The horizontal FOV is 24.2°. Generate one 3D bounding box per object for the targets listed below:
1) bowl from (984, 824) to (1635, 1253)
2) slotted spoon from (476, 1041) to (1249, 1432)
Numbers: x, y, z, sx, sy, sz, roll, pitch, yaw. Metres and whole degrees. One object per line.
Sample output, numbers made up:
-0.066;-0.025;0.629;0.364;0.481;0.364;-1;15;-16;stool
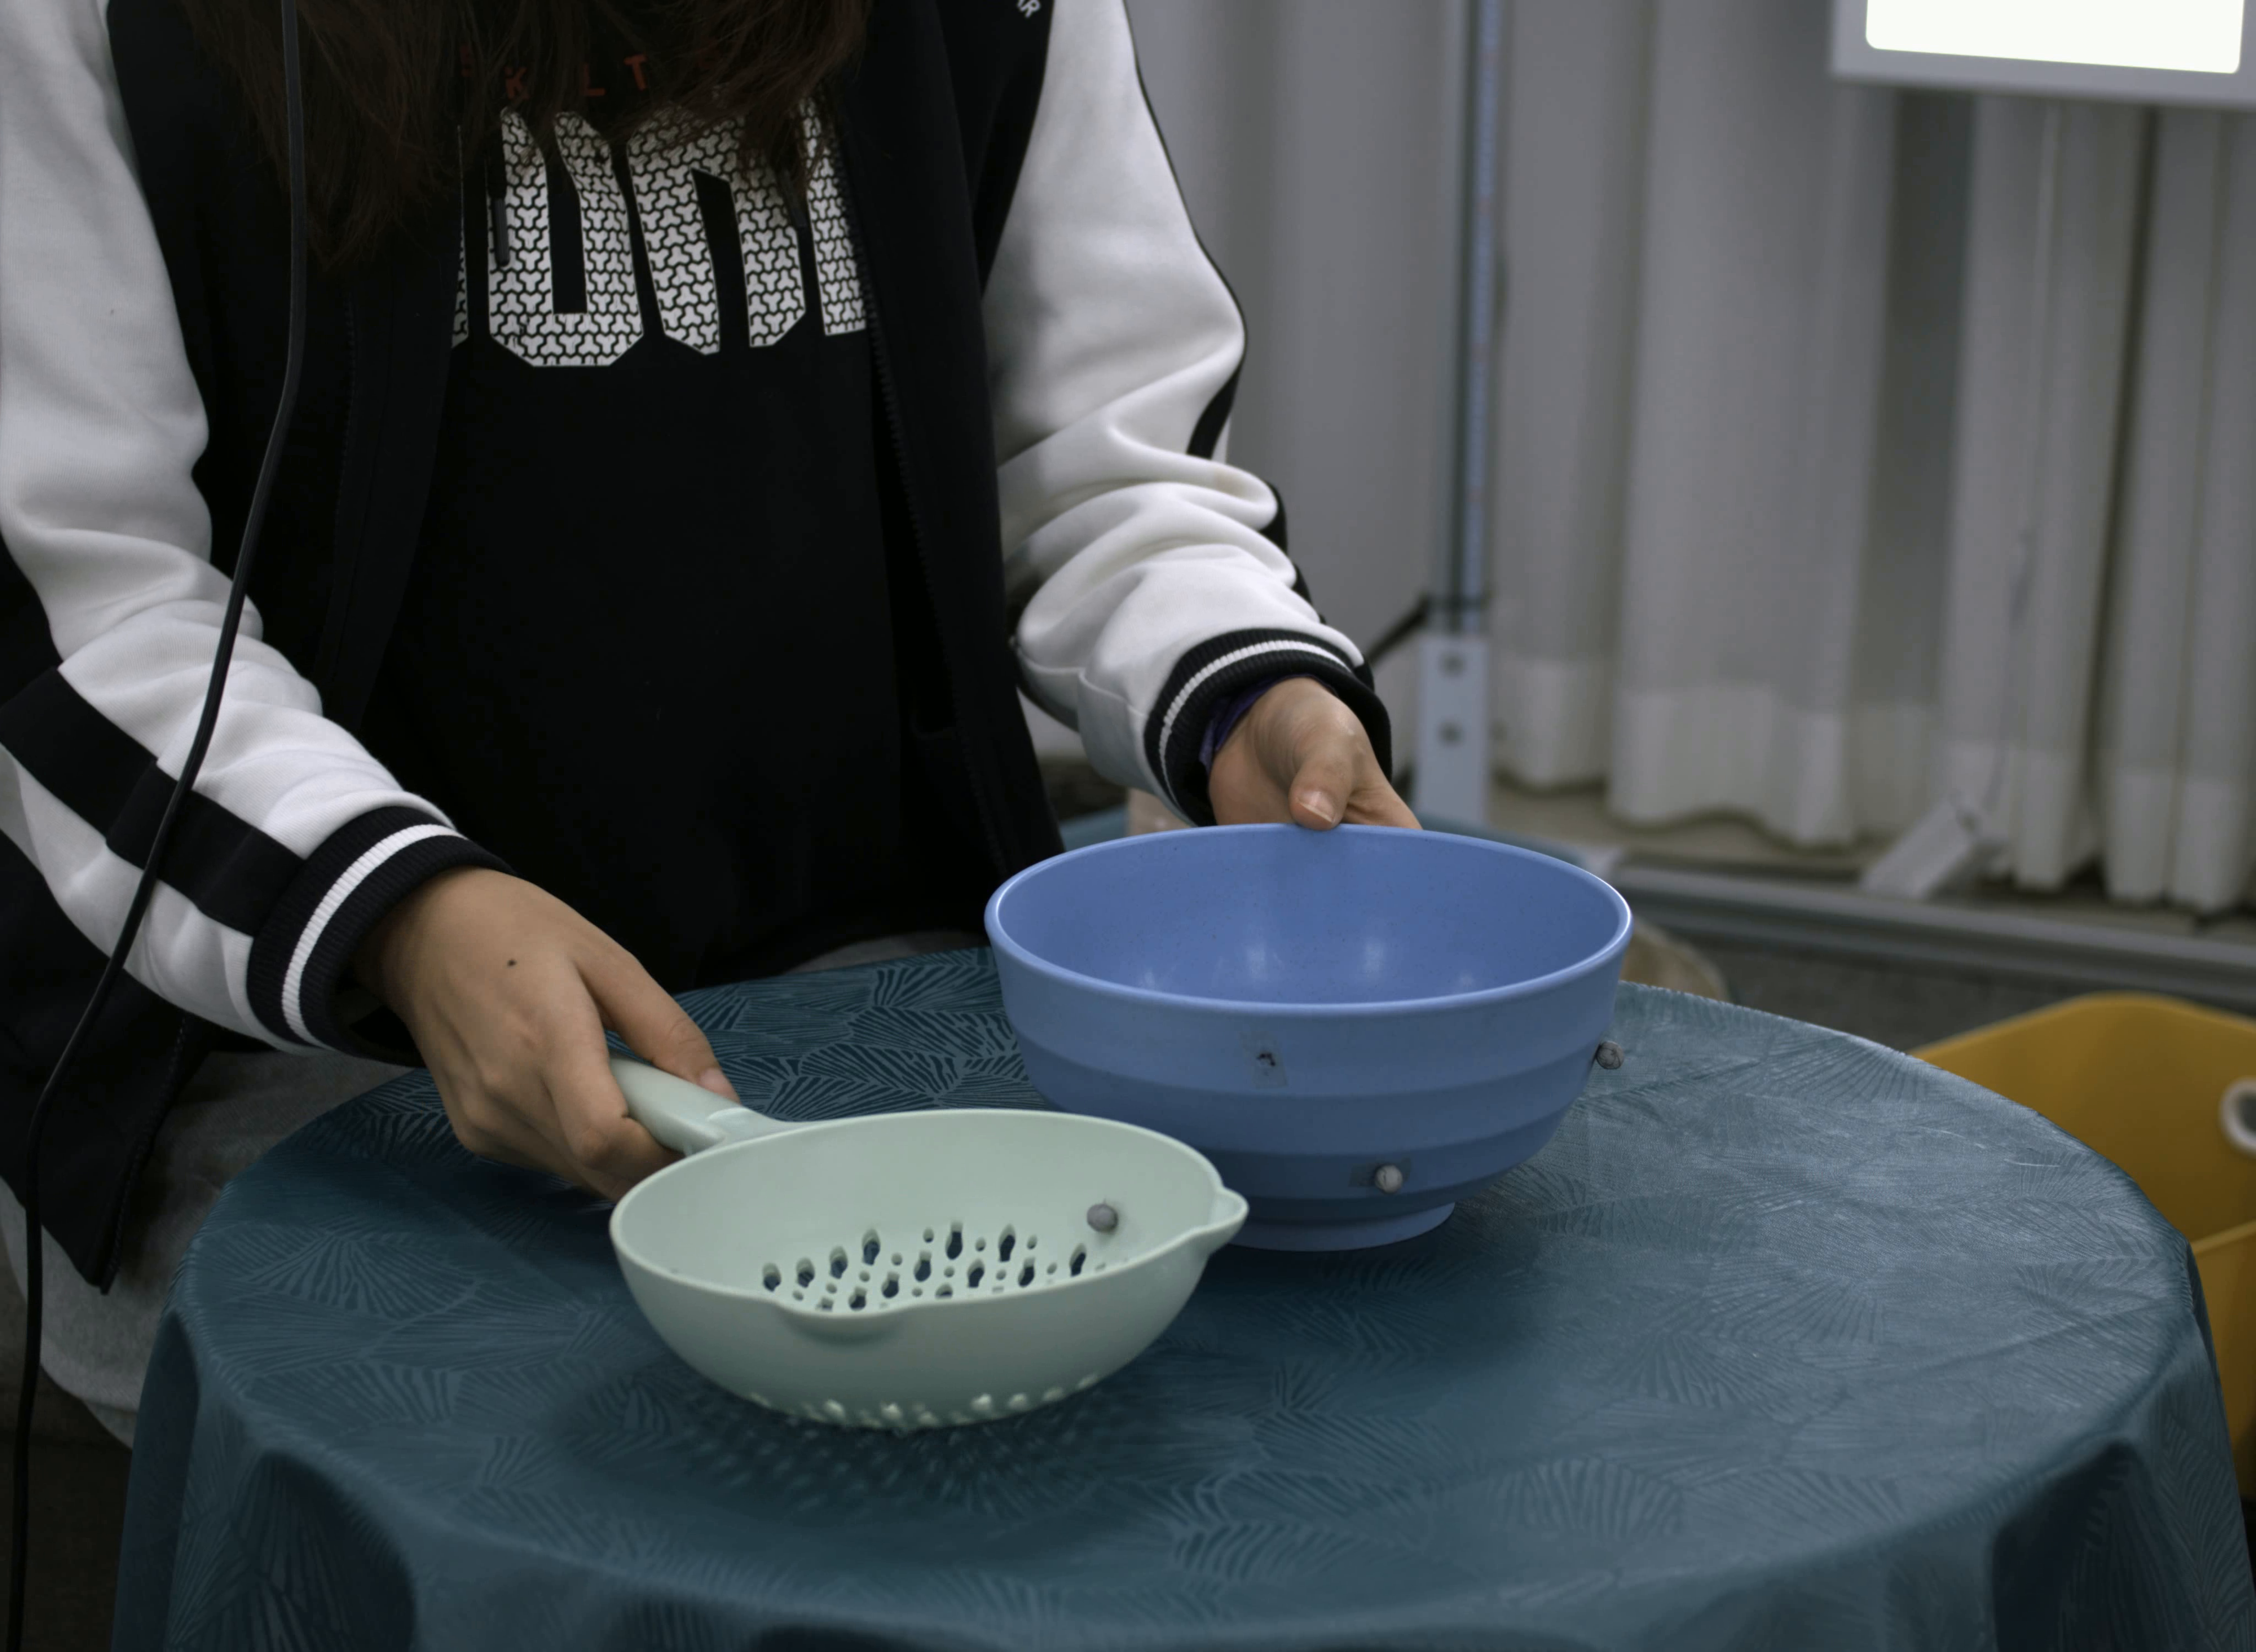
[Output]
0.055;0.070;1.599;0.196;0.096;0.195;0;16;1;bowl
-0.109;0.101;1.523;0.170;0.076;0.354;-11;22;-31;slotted spoon
